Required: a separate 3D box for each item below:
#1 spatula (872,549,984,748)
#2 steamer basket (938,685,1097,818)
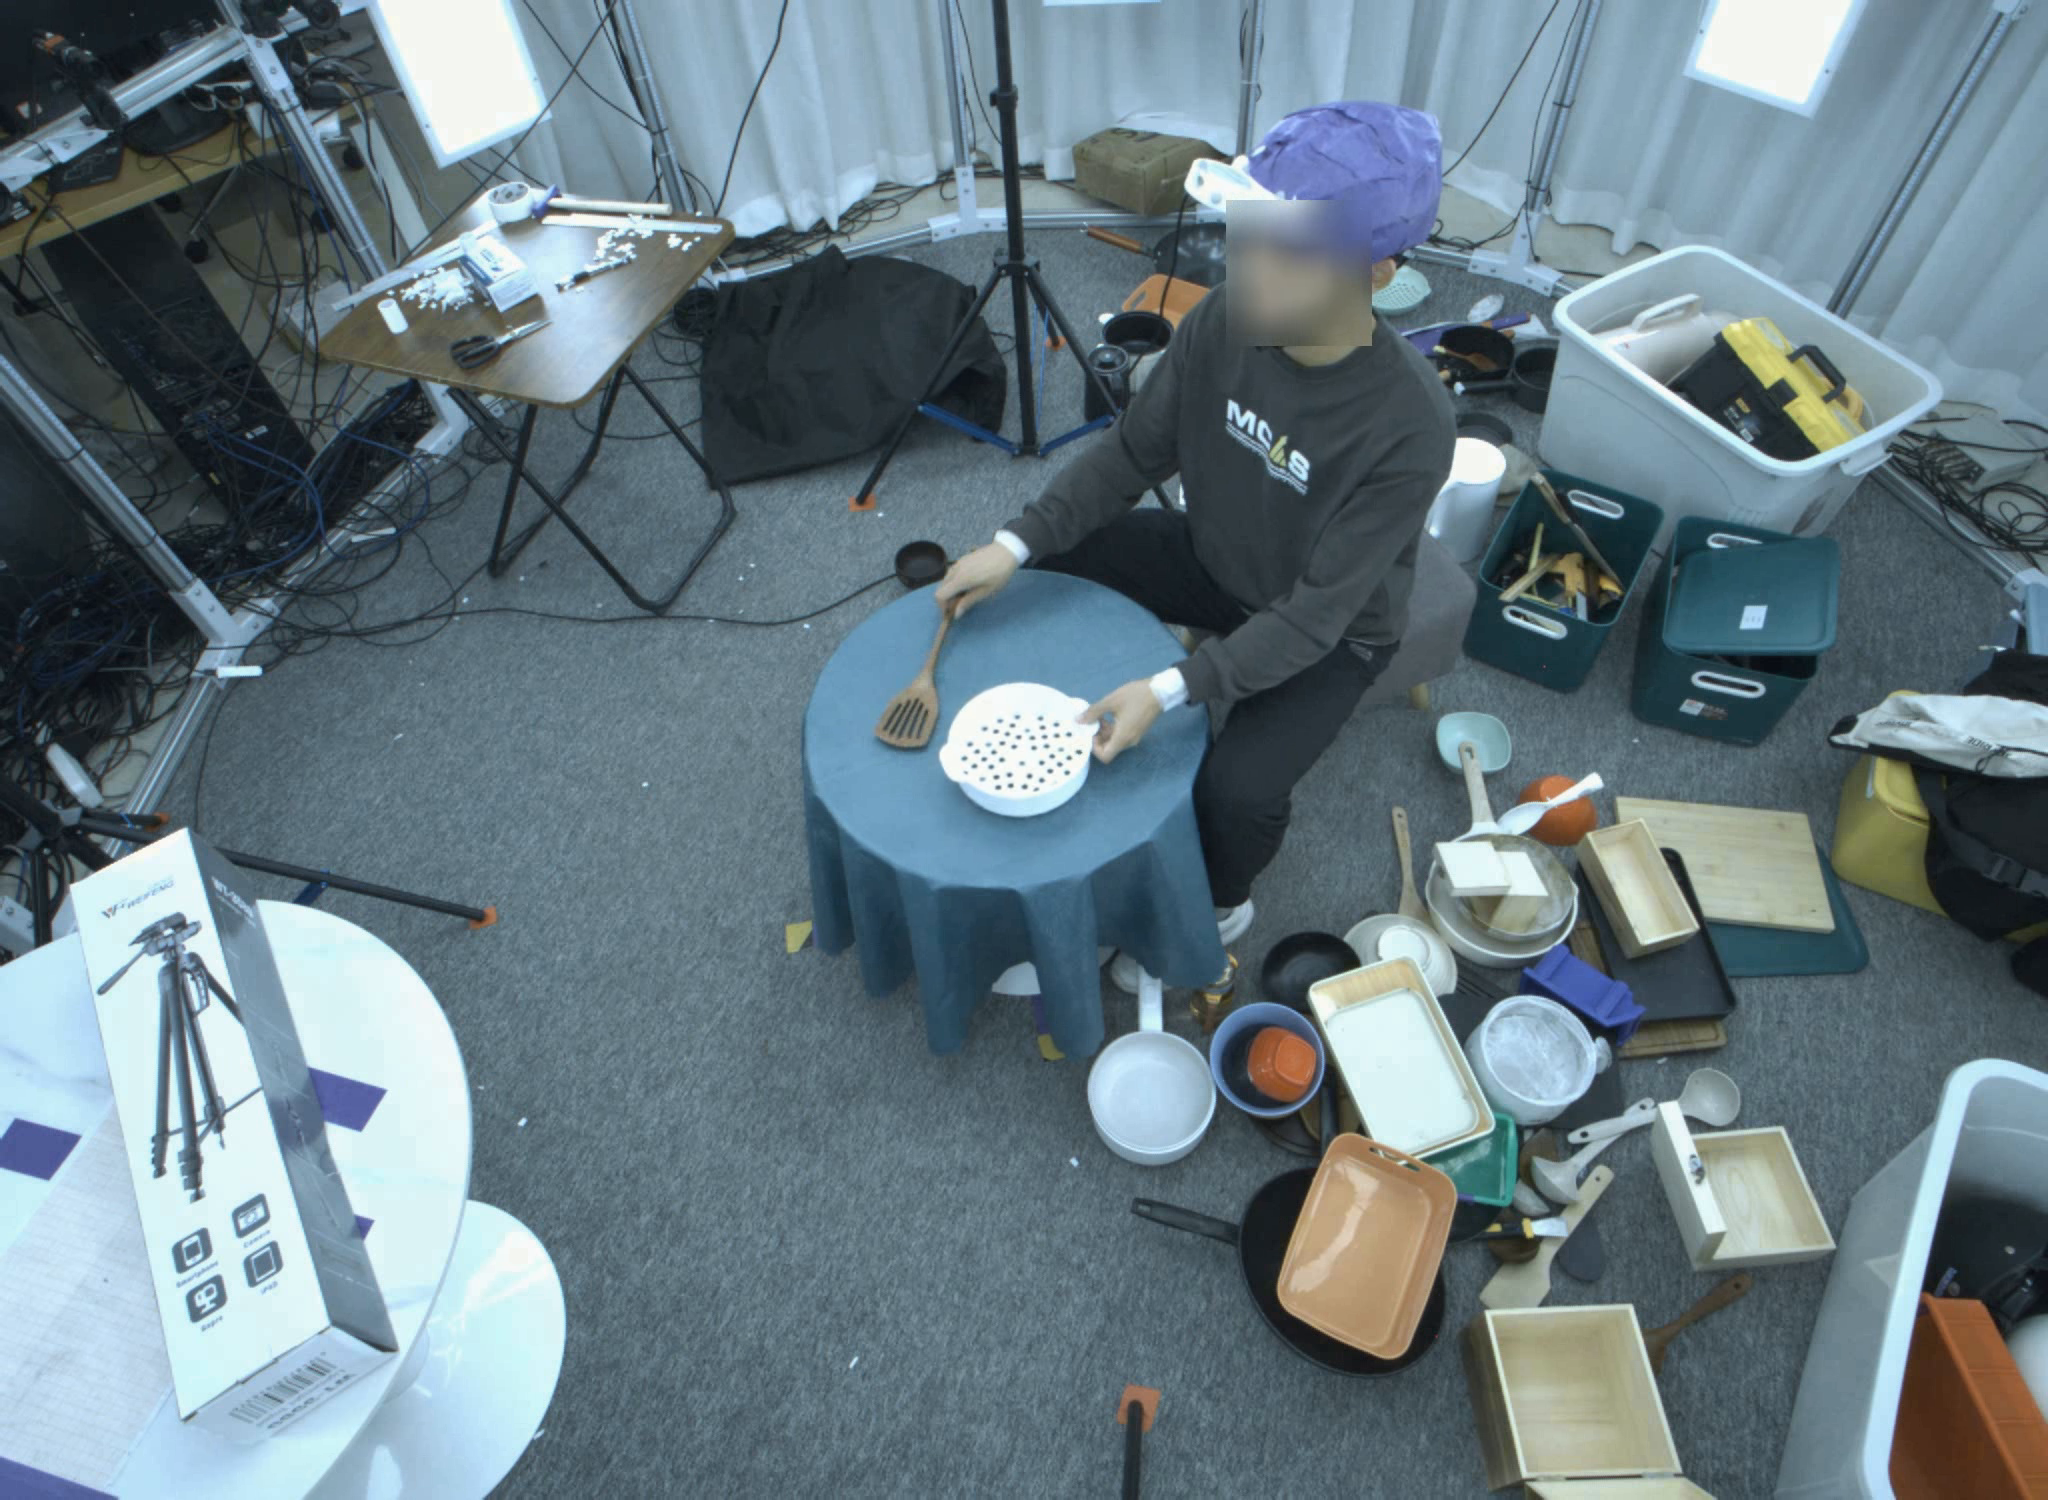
[{"bbox_3d":[-0.132,-0.164,1.888,0.085,0.024,0.384,14,62,10],"label":"spatula"},{"bbox_3d":[-0.009,0.004,1.754,0.232,0.070,0.198,-18,58,-15],"label":"steamer basket"}]
